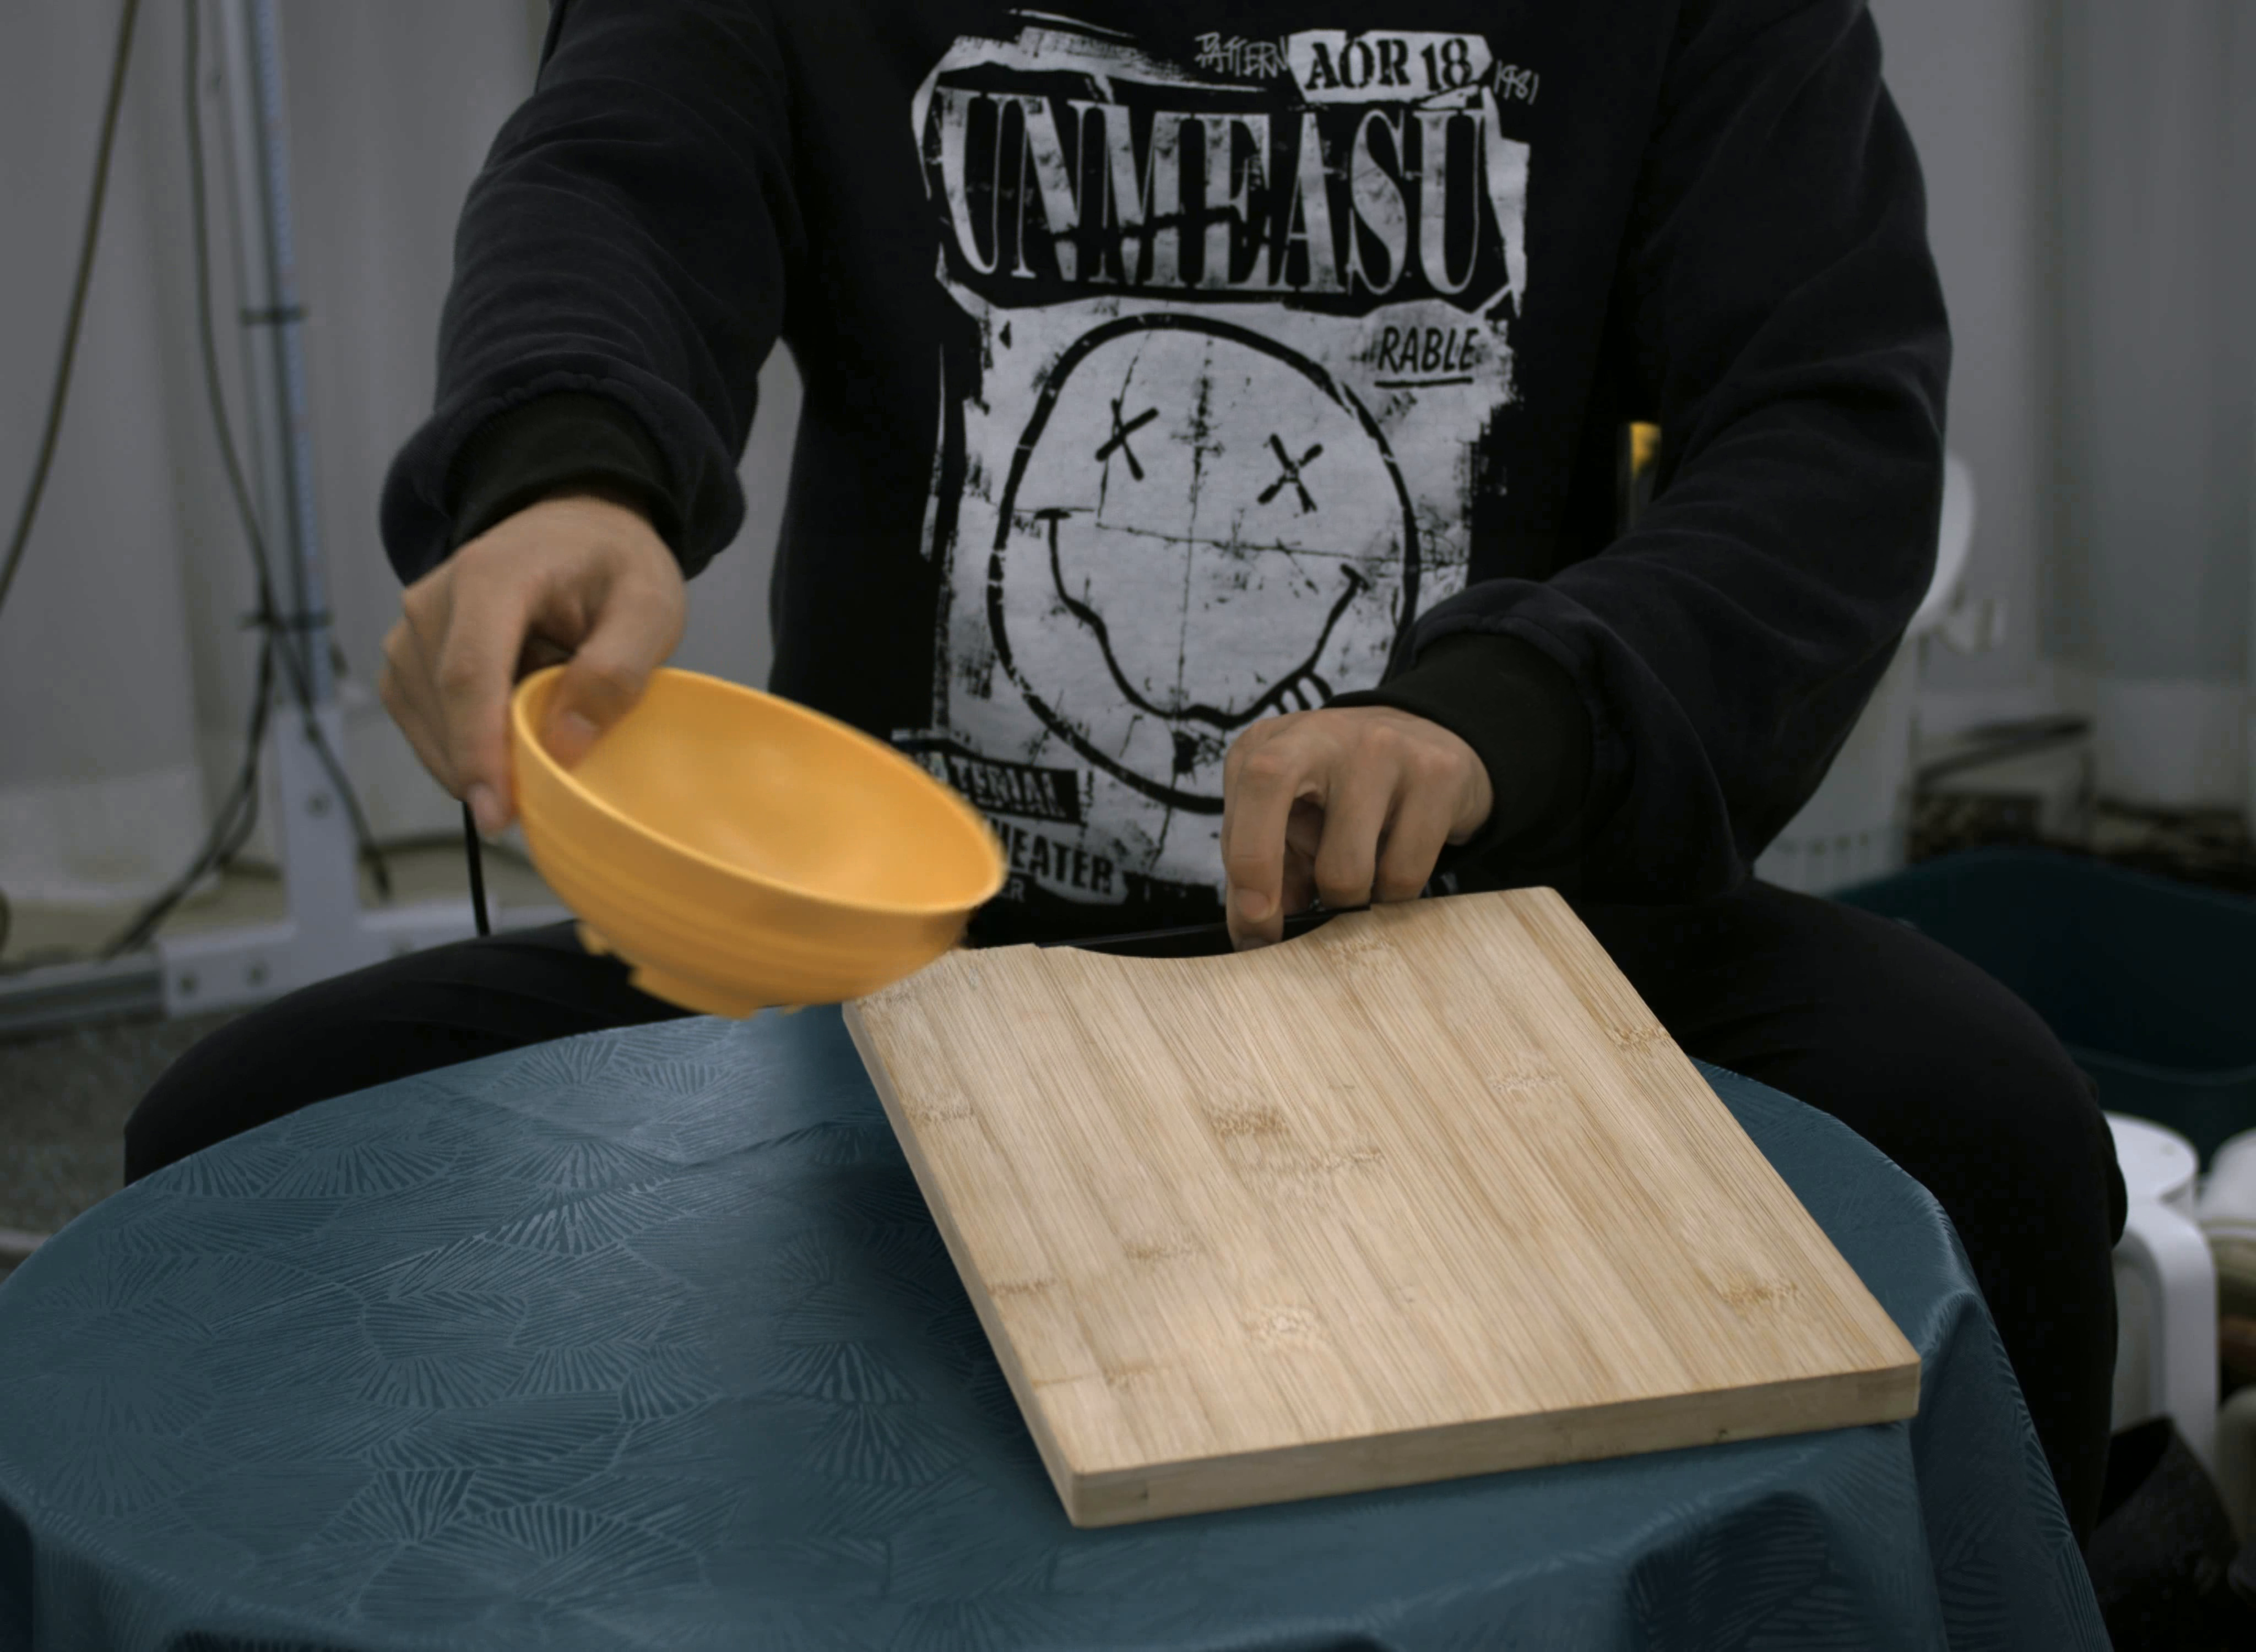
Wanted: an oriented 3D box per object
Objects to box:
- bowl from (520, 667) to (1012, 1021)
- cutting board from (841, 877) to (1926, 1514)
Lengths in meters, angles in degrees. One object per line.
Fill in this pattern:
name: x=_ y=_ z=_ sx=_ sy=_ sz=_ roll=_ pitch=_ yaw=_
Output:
bowl: x=-0.109 y=0.013 z=1.523 sx=0.144 sy=0.060 sz=0.146 roll=19 pitch=16 yaw=-6
cutting board: x=0.063 y=0.102 z=1.626 sx=0.249 sy=0.023 sz=0.352 roll=-6 pitch=23 yaw=-13
